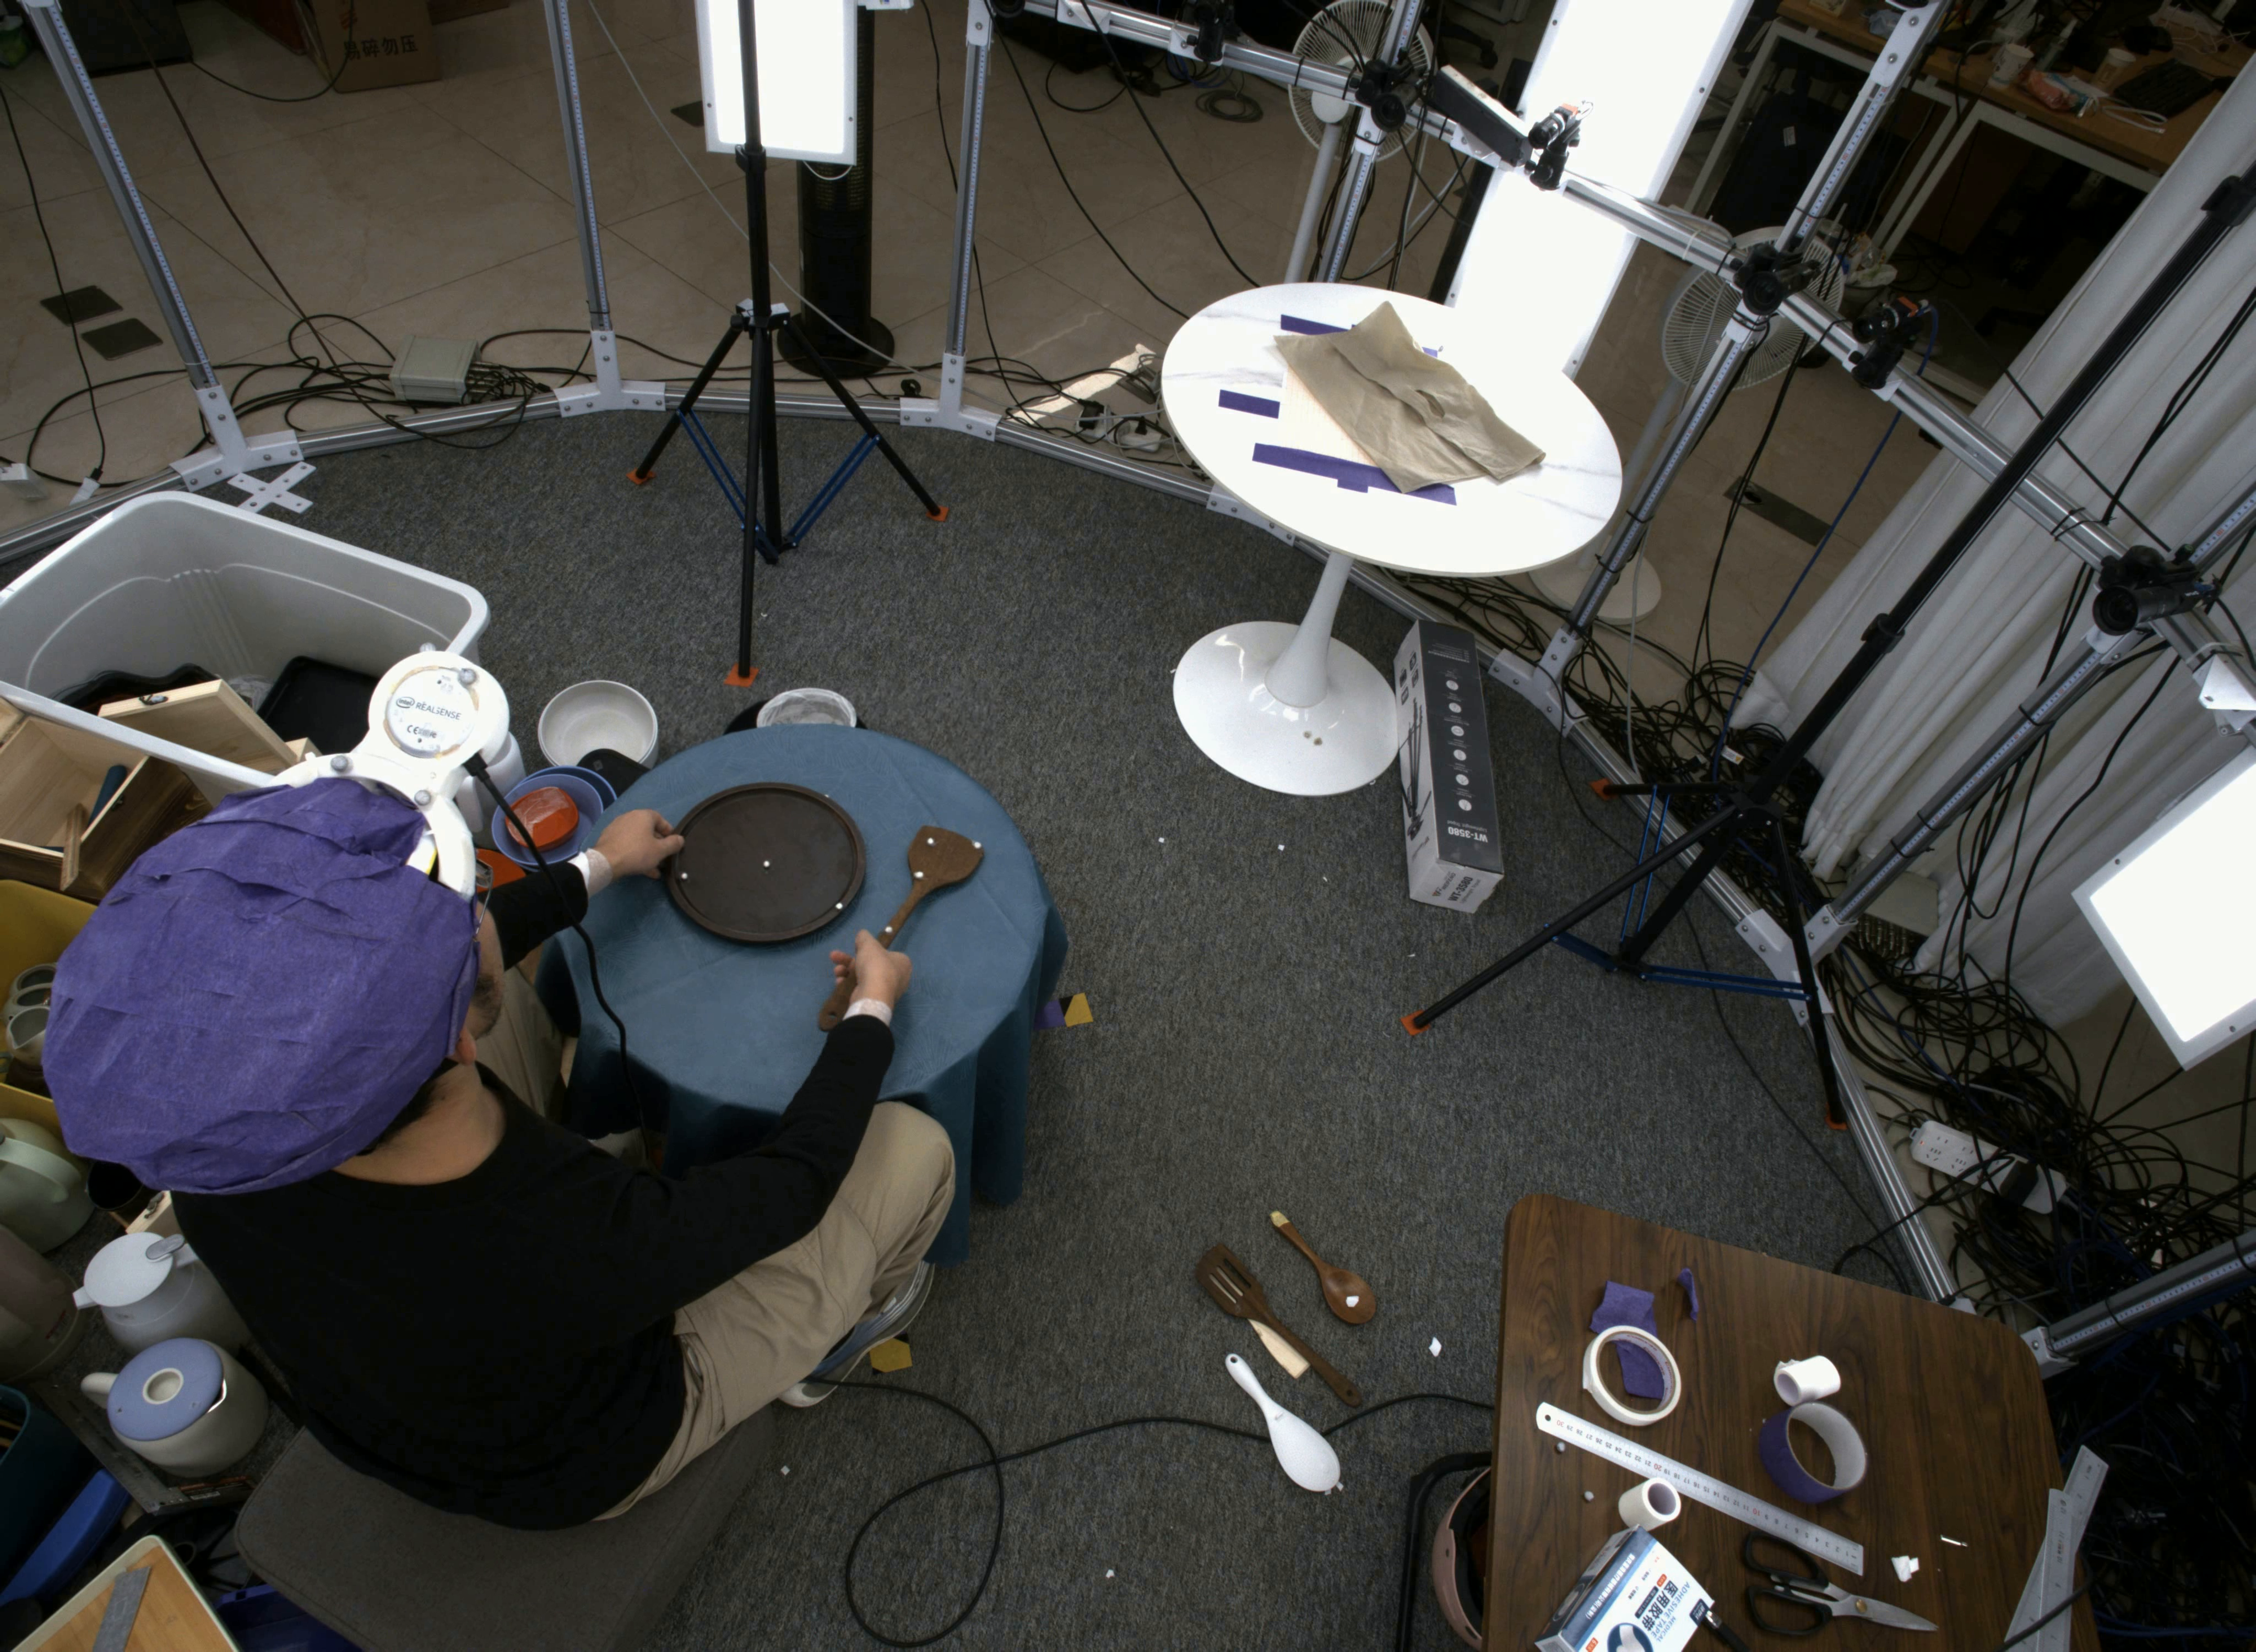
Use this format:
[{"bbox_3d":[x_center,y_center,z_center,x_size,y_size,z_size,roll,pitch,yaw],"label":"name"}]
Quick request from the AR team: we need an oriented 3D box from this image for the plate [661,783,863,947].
[{"bbox_3d":[-0.468,0.046,1.657,0.254,0.029,0.250,9,53,-10],"label":"plate"}]

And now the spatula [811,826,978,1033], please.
[{"bbox_3d":[-0.296,0.120,1.615,0.095,0.016,0.382,23,39,4],"label":"spatula"}]
